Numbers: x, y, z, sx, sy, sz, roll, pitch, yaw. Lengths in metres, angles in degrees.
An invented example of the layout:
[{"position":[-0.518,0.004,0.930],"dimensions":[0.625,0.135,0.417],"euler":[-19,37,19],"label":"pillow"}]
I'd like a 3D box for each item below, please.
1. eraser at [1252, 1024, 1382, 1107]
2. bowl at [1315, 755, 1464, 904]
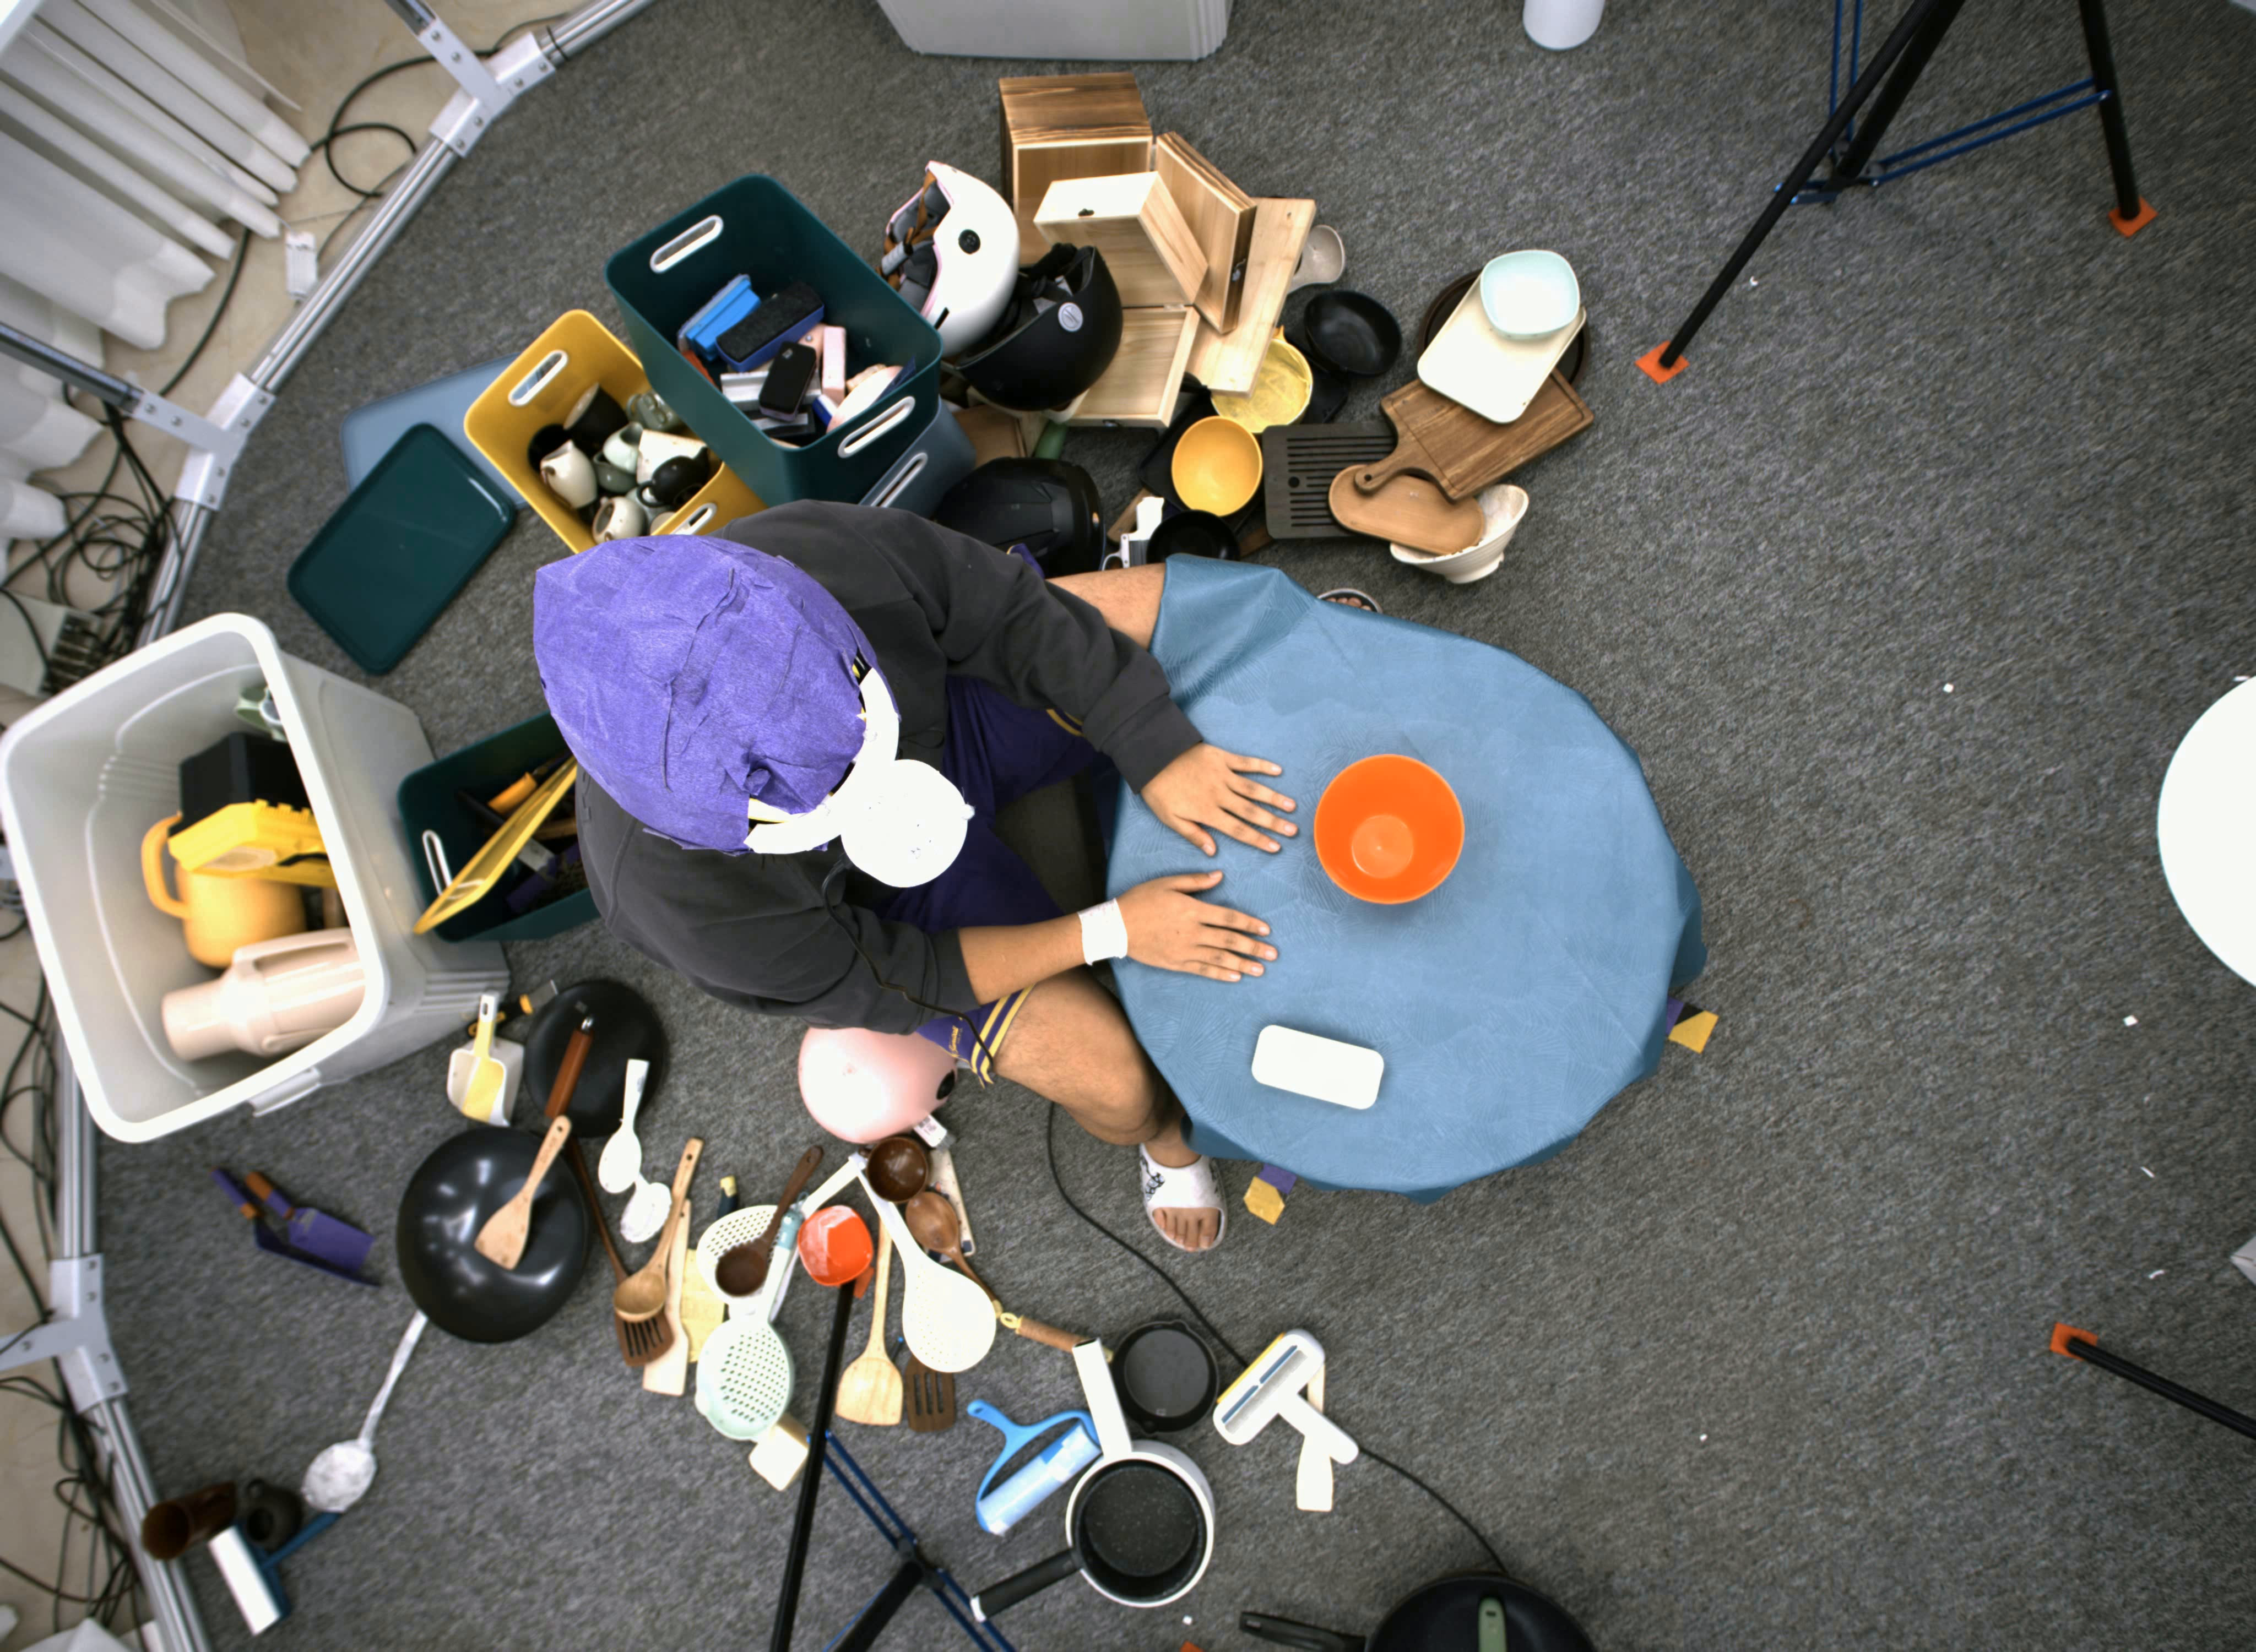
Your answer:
[{"position":[0.197,0.247,1.447],"dimensions":[0.131,0.034,0.063],"euler":[15,88,9],"label":"eraser"},{"position":[0.267,0.007,1.413],"dimensions":[0.148,0.104,0.147],"euler":[-1,87,10],"label":"bowl"}]
